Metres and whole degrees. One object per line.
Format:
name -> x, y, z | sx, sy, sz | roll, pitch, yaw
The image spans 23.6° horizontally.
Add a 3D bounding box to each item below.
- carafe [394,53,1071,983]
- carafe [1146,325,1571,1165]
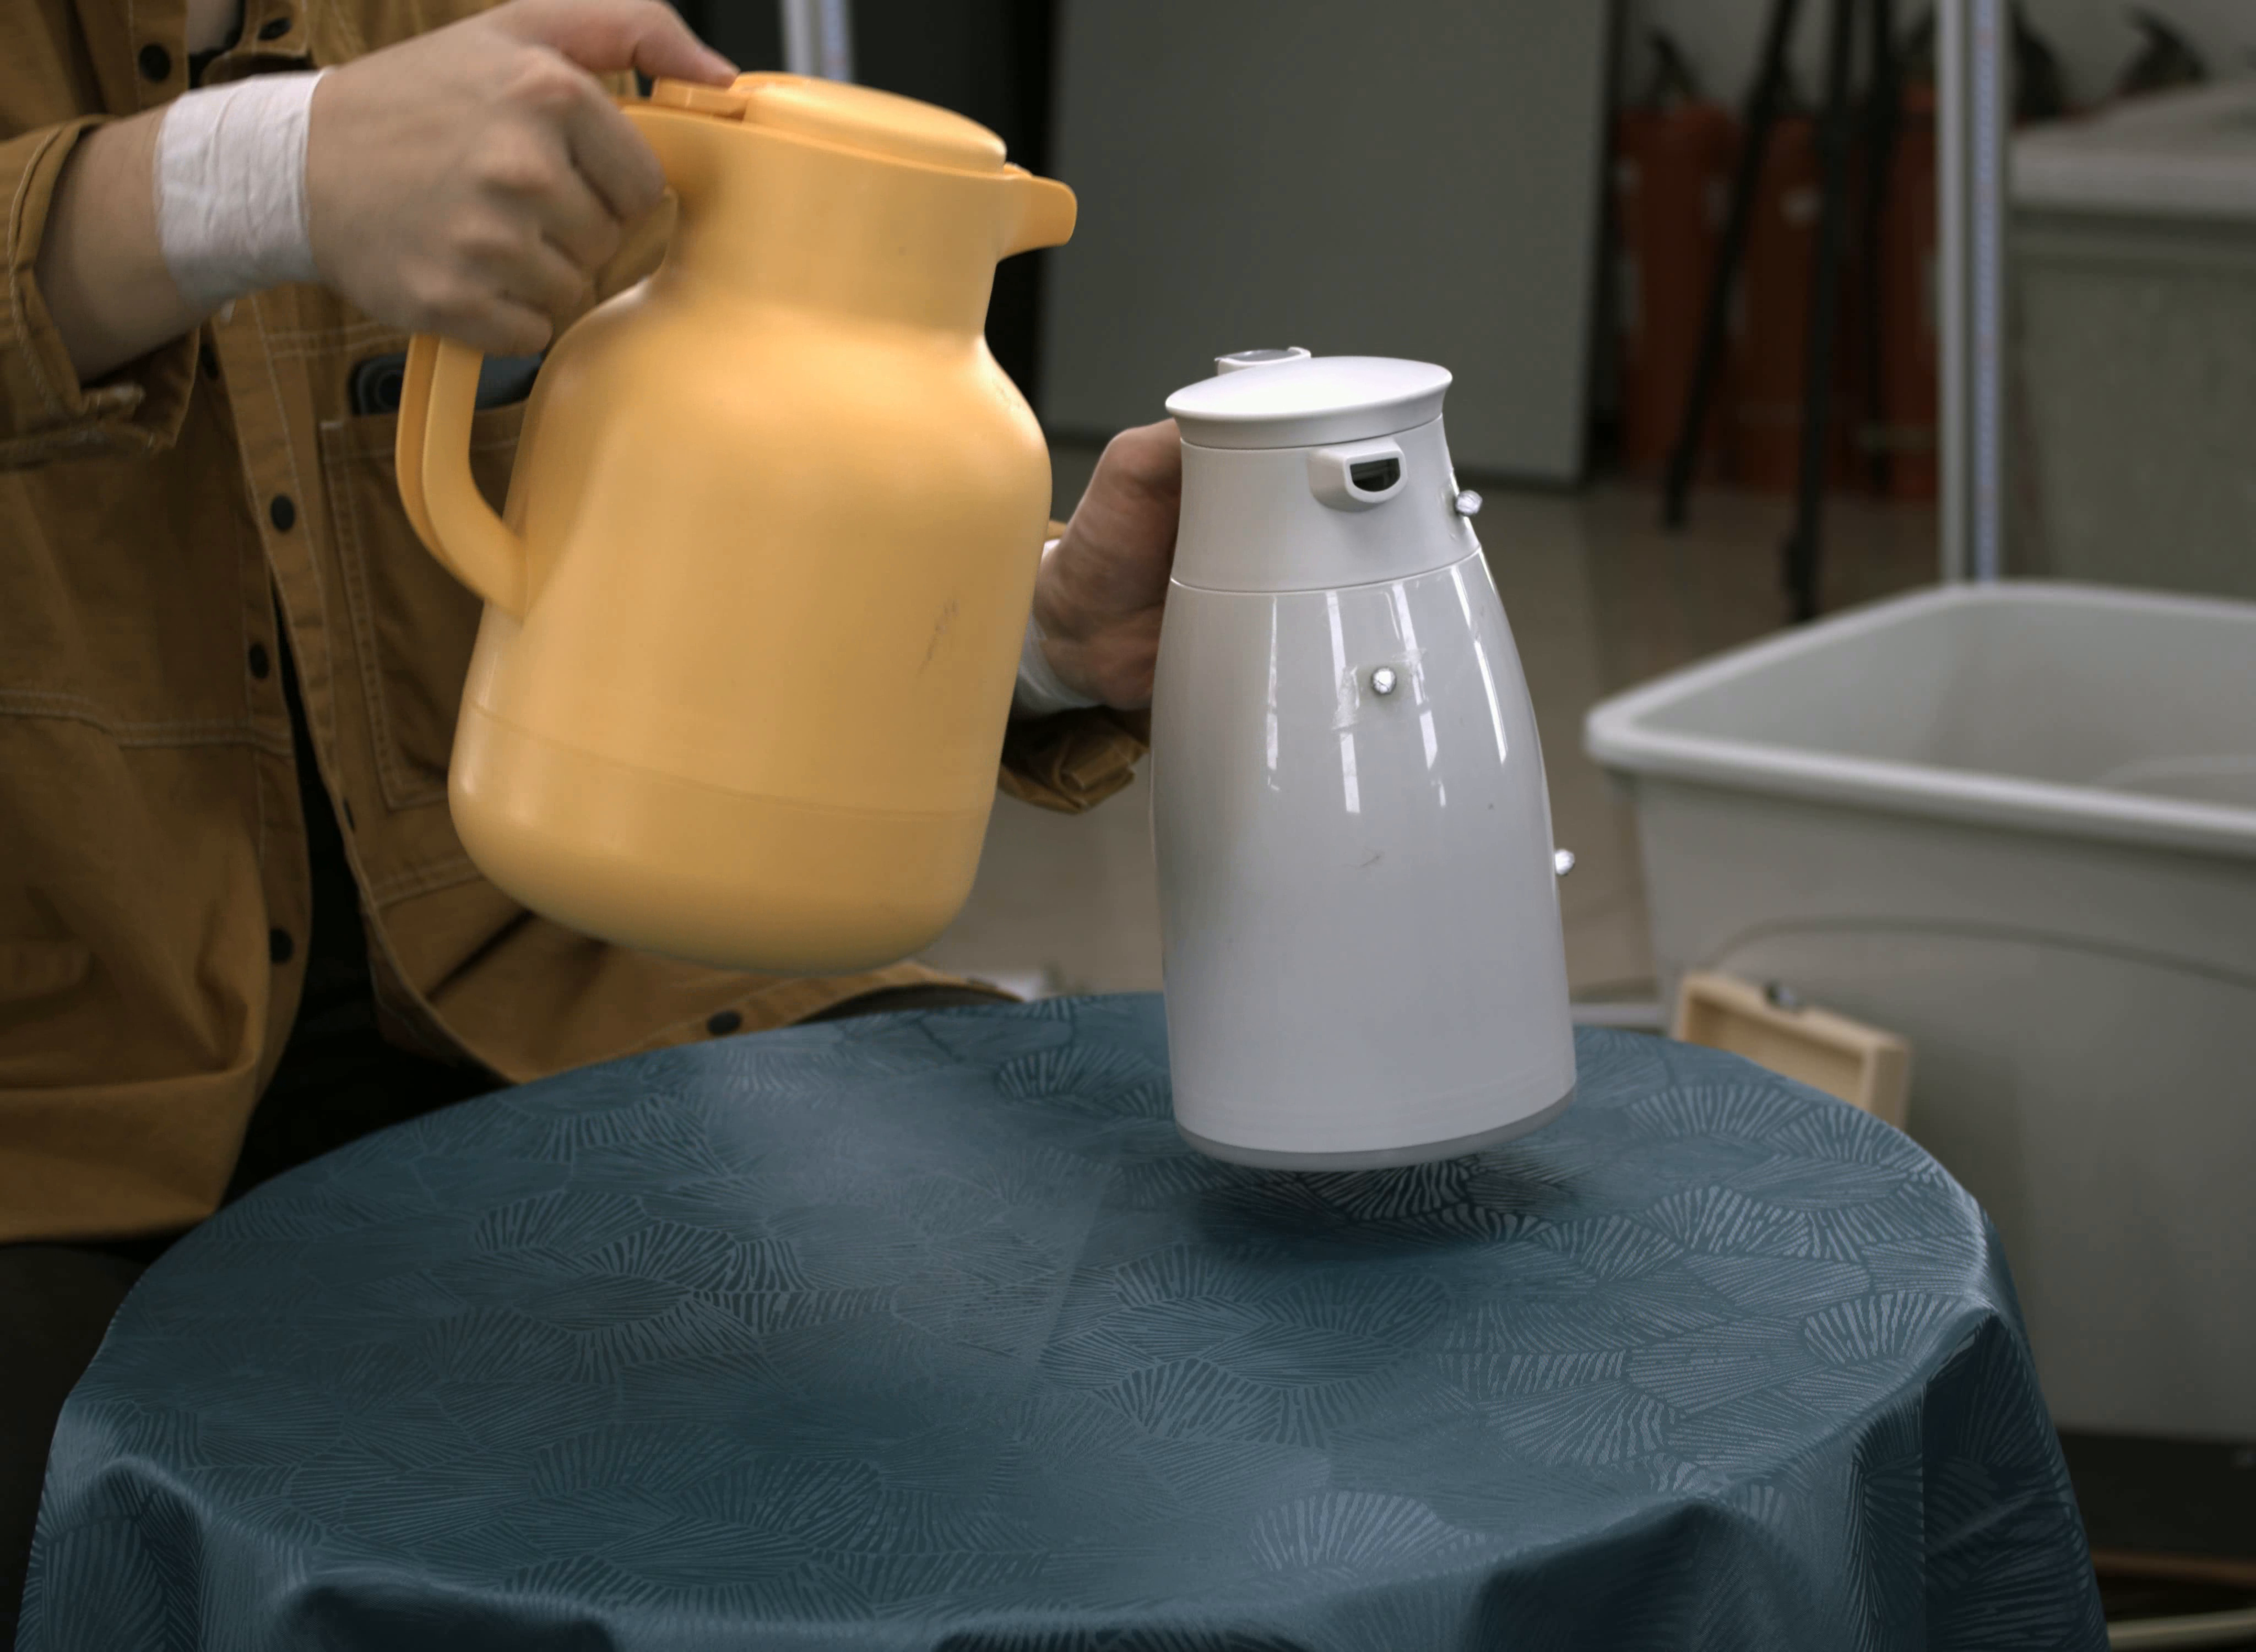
carafe -> -0.123, -0.096, 1.603 | 0.198, 0.263, 0.165 | 8, 8, -25
carafe -> 0.061, -0.034, 1.739 | 0.130, 0.251, 0.169 | -10, 12, -14
